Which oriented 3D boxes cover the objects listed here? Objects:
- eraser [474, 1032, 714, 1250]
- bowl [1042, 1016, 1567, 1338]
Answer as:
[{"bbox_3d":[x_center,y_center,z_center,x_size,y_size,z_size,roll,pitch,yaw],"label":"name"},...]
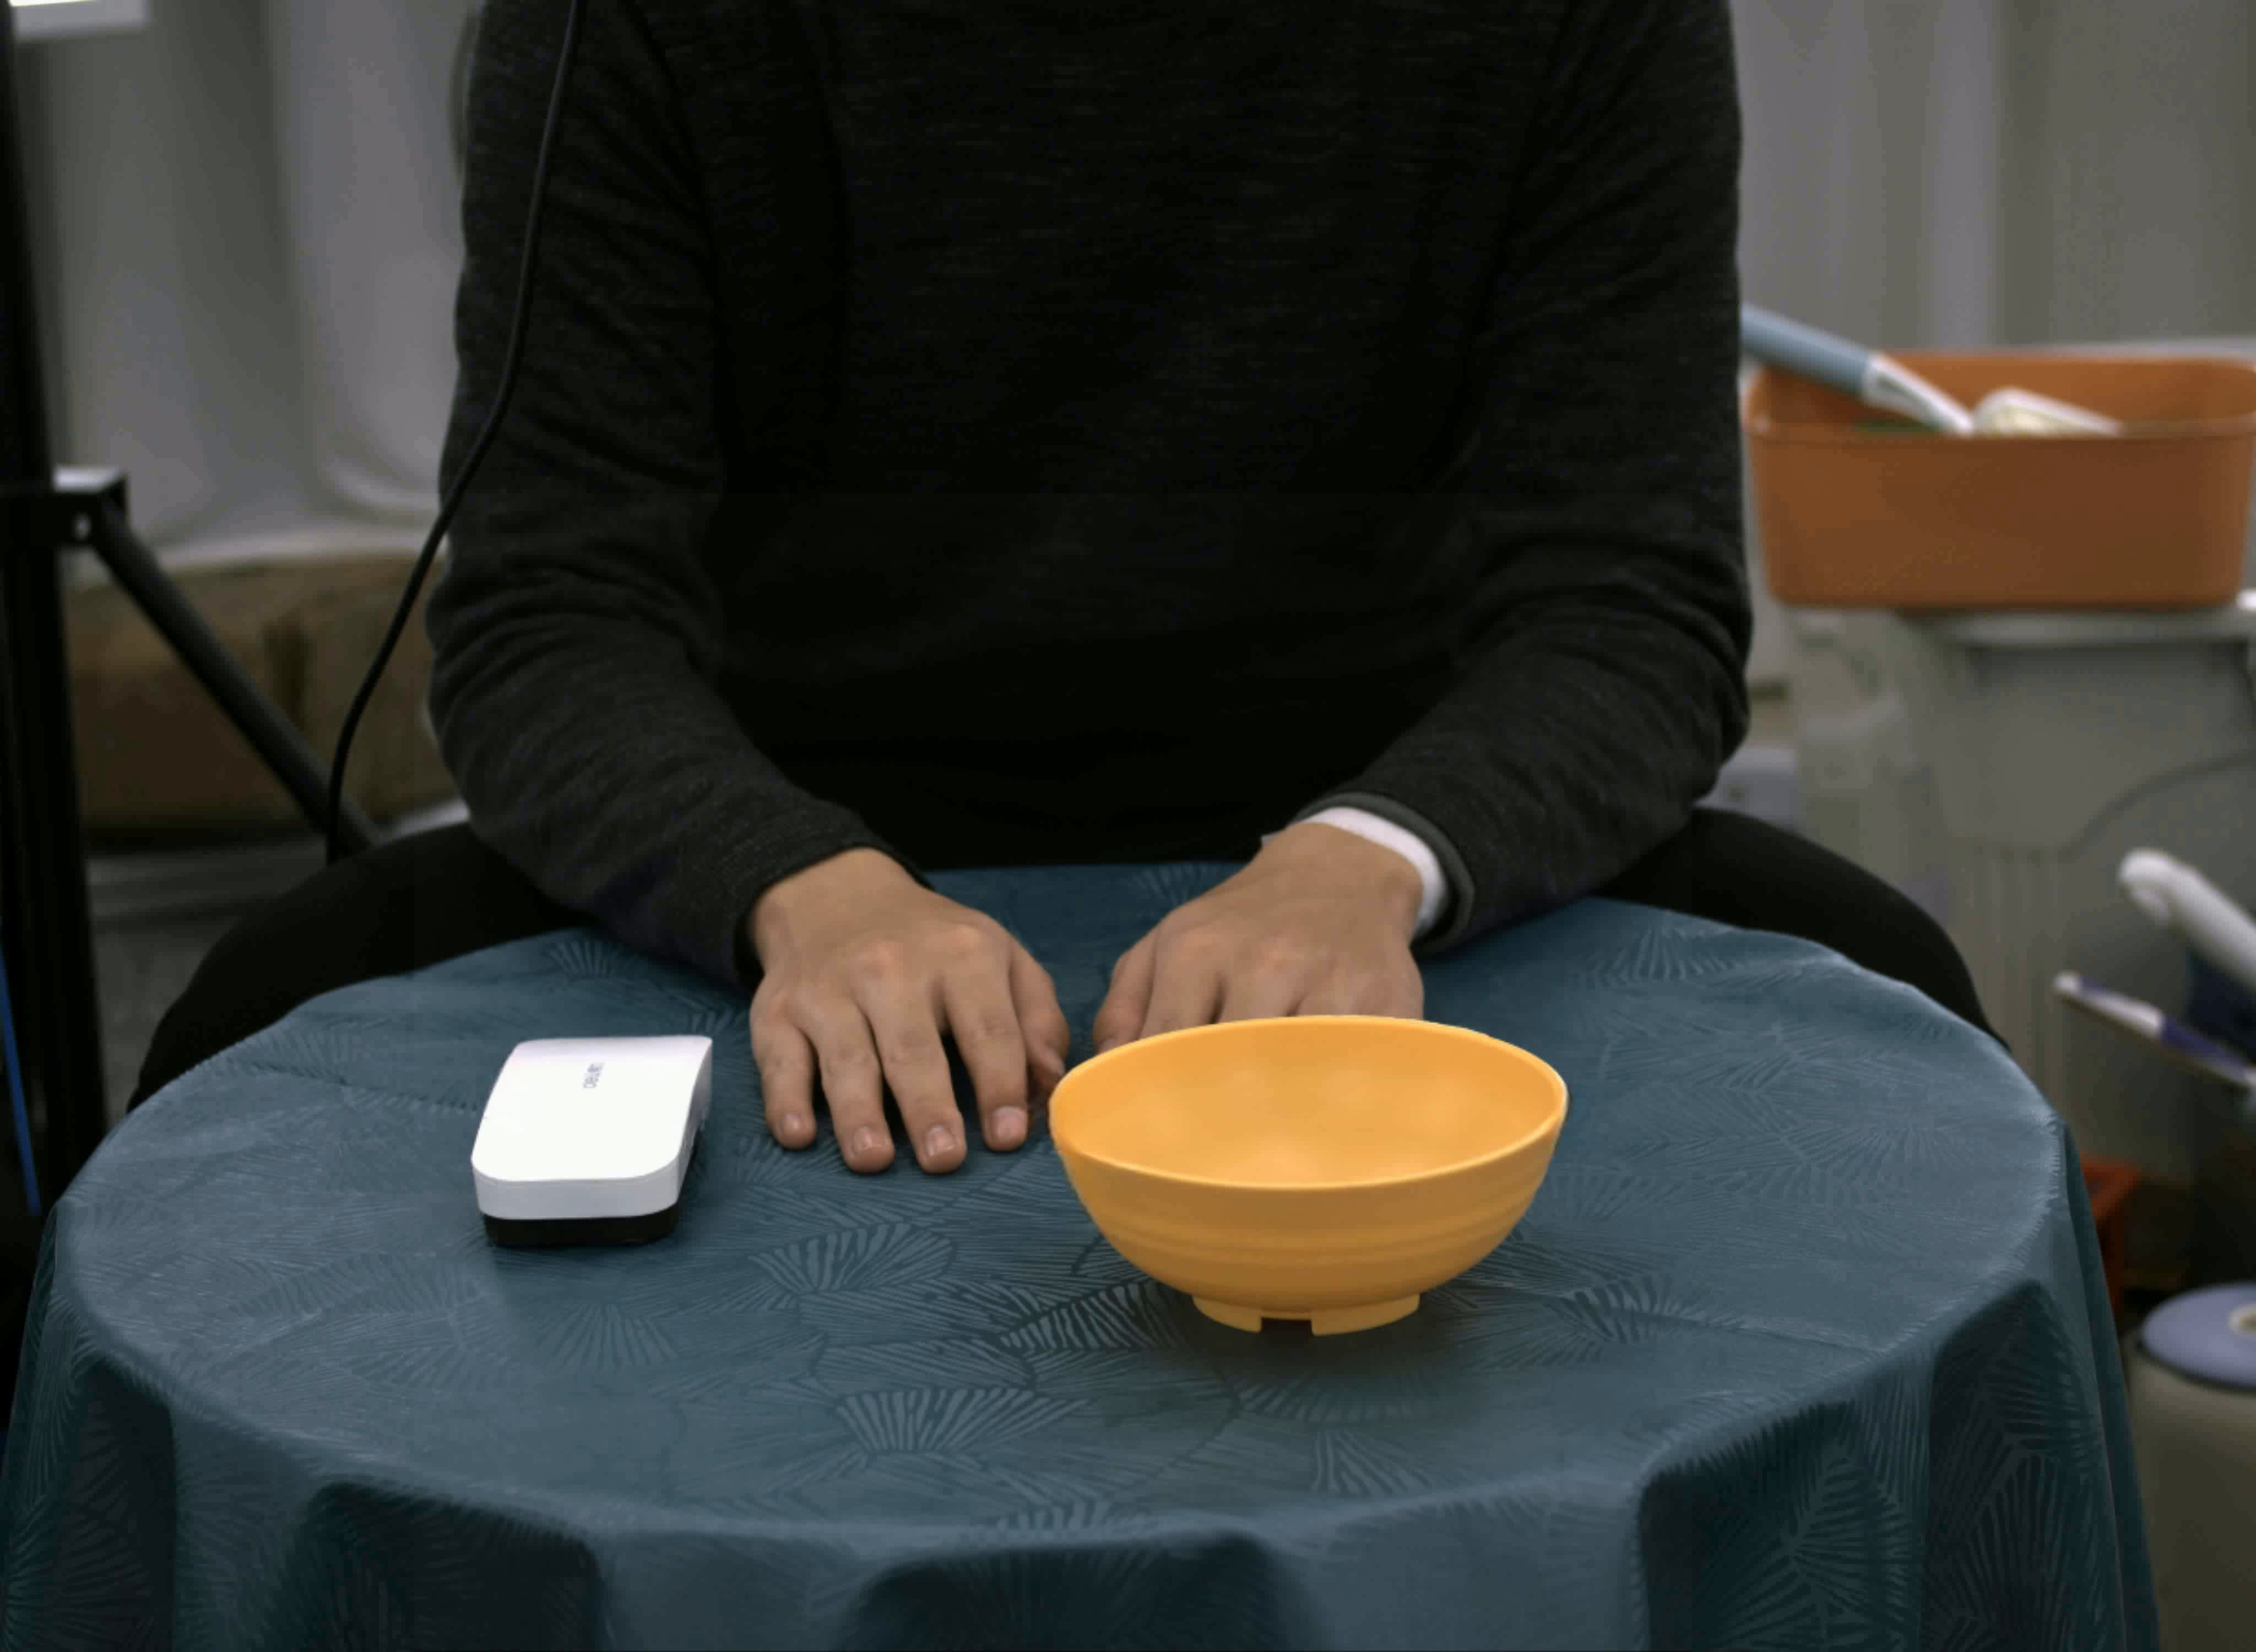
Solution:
[{"bbox_3d":[-0.157,0.090,1.591,0.063,0.034,0.131,-1,17,2],"label":"eraser"},{"bbox_3d":[0.049,0.102,1.462,0.144,0.060,0.146,-1,16,-1],"label":"bowl"}]
